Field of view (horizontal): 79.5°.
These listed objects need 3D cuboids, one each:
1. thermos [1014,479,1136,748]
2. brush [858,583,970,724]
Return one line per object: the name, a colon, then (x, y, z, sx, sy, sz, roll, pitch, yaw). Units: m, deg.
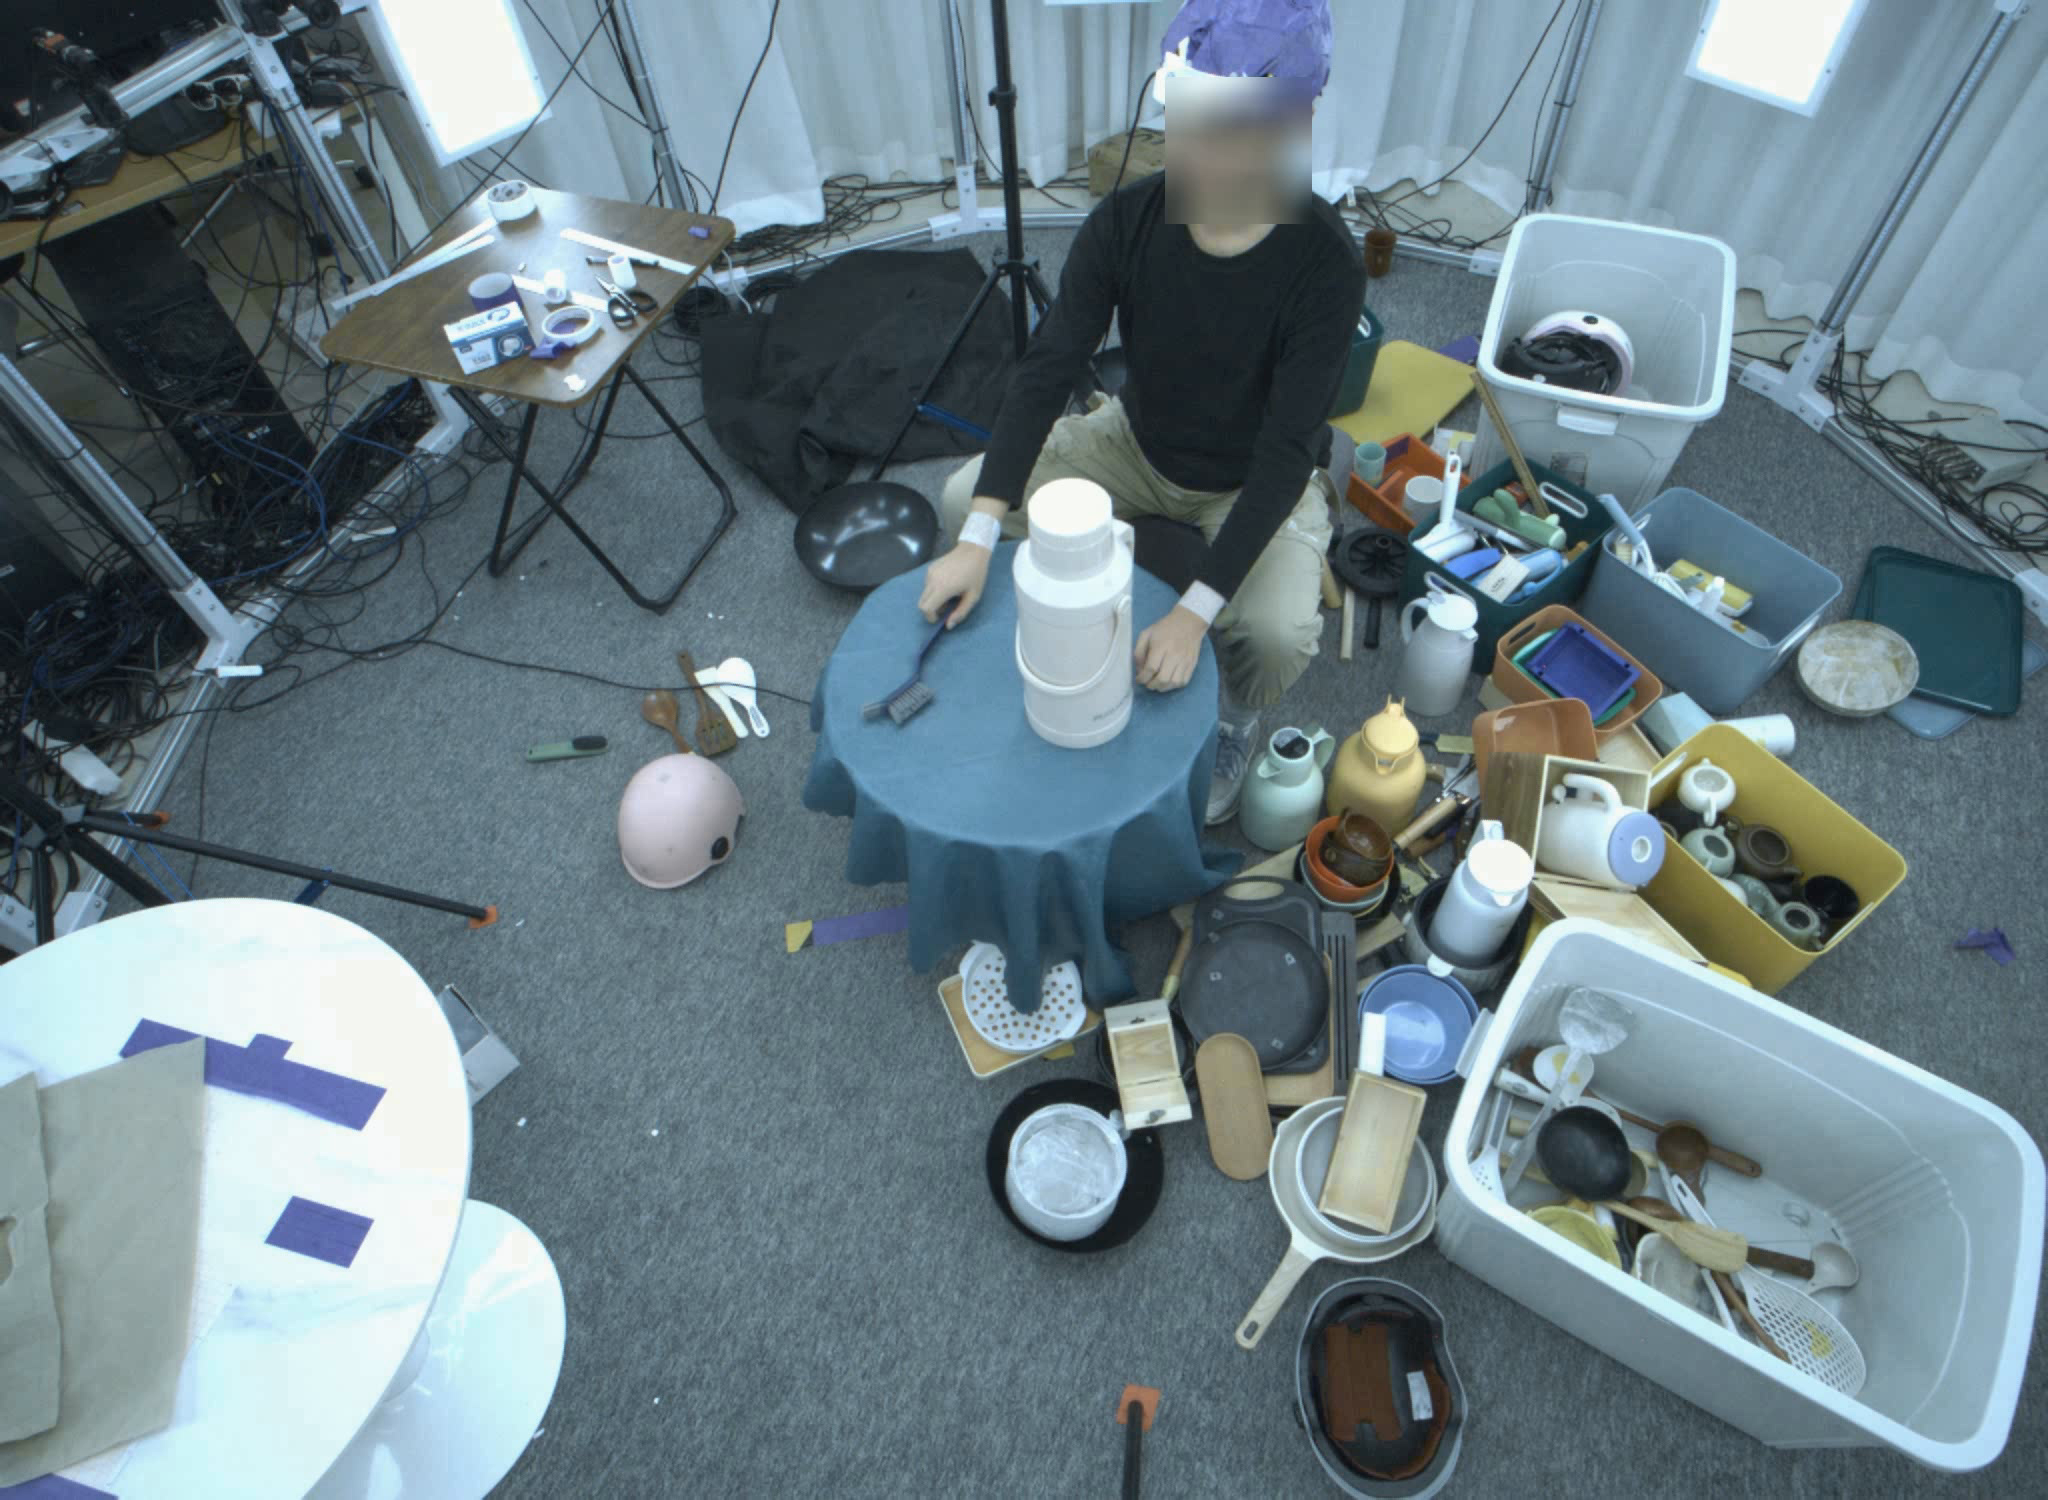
thermos: (0.081, -0.190, 1.675, 0.172, 0.411, 0.208, 31, 63, 25)
brush: (-0.162, -0.154, 1.881, 0.095, 0.034, 0.272, 15, 59, 11)
